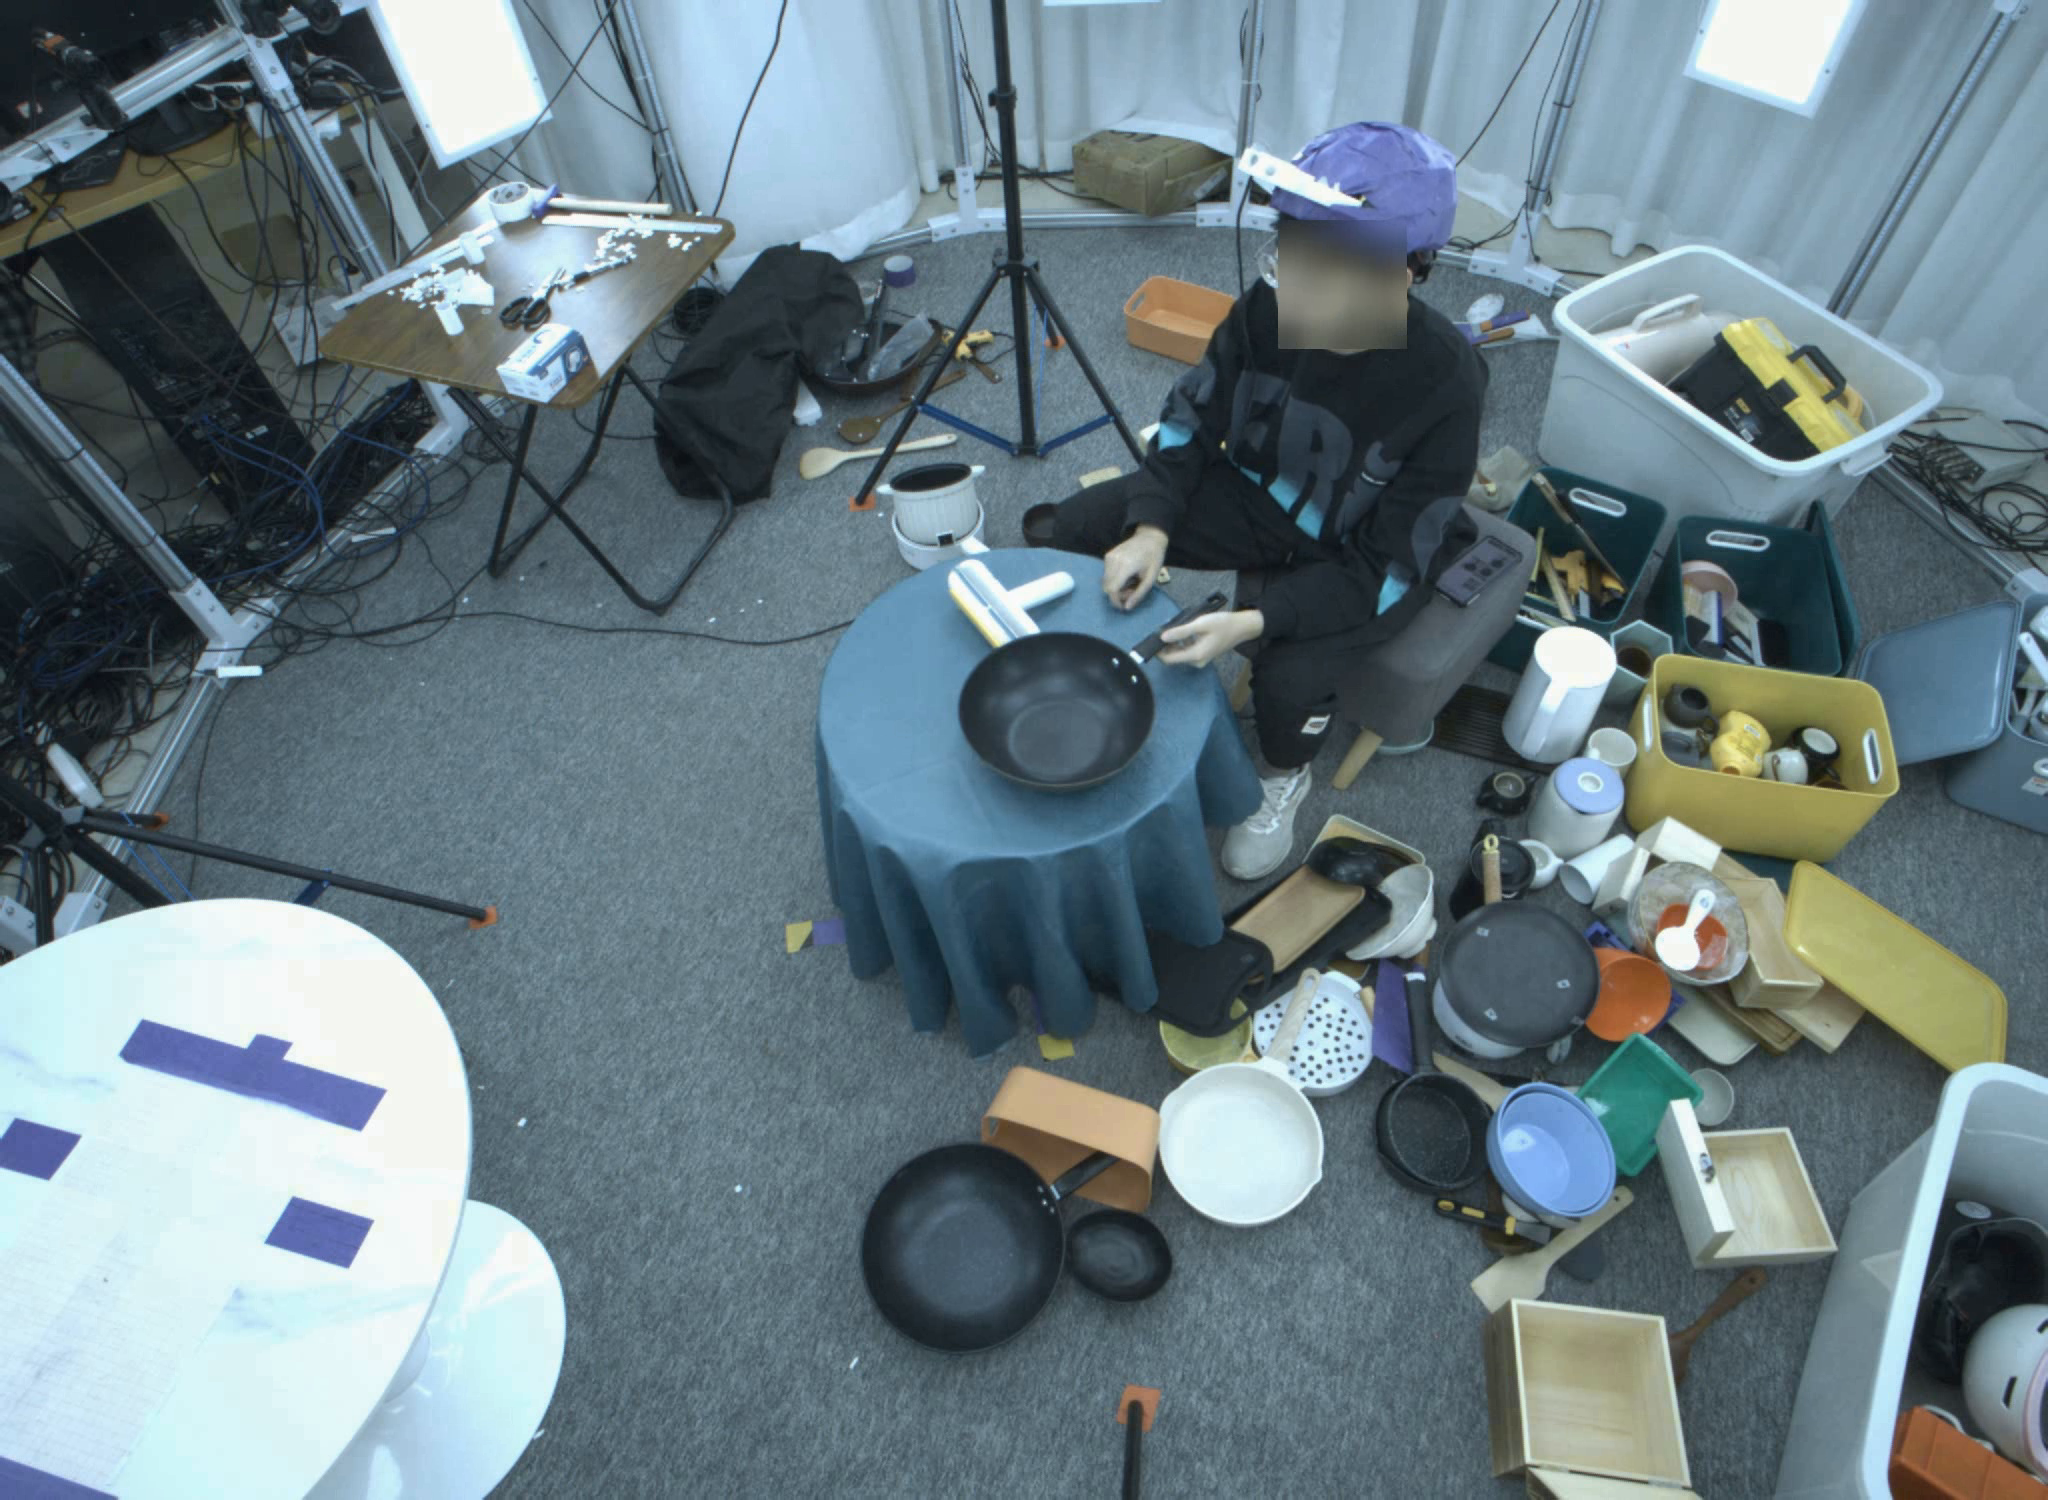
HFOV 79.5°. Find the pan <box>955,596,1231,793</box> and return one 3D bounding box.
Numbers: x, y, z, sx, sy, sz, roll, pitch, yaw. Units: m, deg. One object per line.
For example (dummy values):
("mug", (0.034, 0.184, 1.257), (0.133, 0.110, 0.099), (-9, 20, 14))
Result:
("pan", (0.117, -0.090, 1.791), (0.467, 0.088, 0.283), (-34, 60, -20))

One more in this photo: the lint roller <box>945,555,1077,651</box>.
("lint roller", (-0.001, -0.241, 1.913), (0.194, 0.075, 0.189), (-28, 64, -19))
